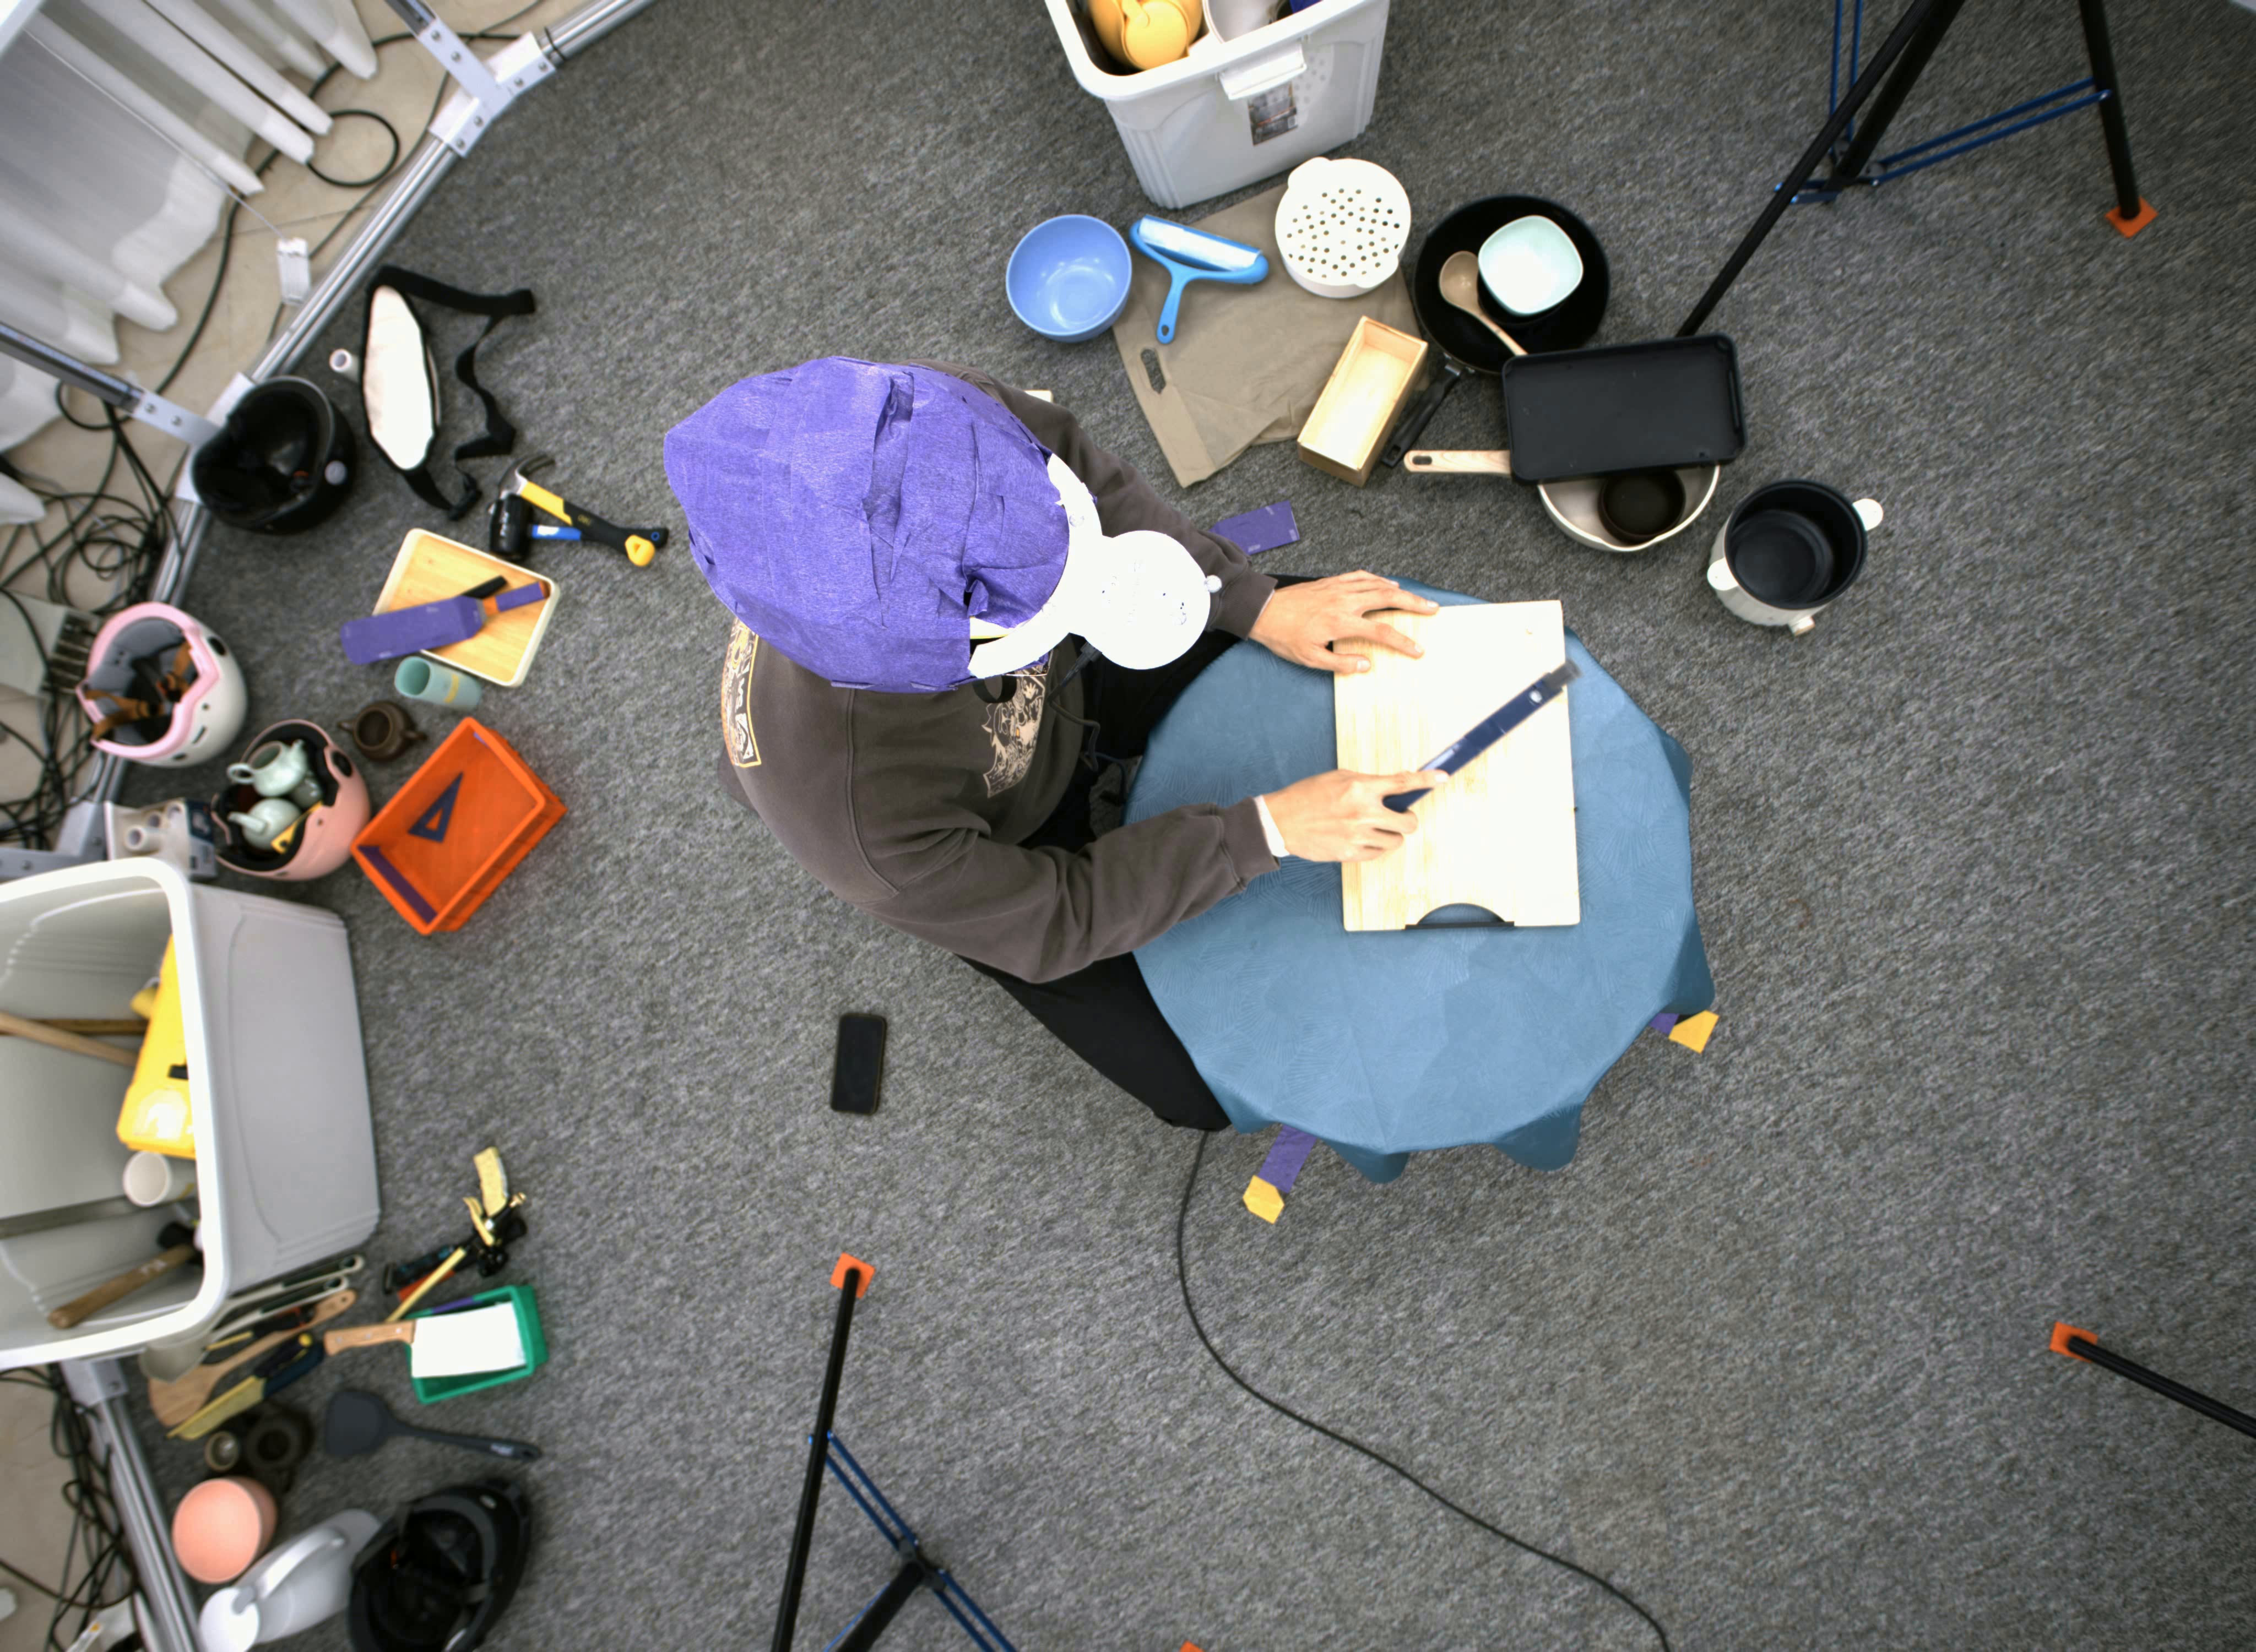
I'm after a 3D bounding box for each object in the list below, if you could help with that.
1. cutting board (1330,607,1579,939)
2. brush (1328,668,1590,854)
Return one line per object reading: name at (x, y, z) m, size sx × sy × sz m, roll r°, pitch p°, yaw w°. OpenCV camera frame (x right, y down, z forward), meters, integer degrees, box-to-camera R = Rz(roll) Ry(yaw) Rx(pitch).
cutting board at (0.340, -0.059, 1.443) m, size 0.252 × 0.023 × 0.347 m, roll -3°, pitch 87°, yaw 11°
brush at (0.315, -0.066, 1.321) m, size 0.273 × 0.096 × 0.033 m, roll -36°, pitch 90°, yaw -3°
